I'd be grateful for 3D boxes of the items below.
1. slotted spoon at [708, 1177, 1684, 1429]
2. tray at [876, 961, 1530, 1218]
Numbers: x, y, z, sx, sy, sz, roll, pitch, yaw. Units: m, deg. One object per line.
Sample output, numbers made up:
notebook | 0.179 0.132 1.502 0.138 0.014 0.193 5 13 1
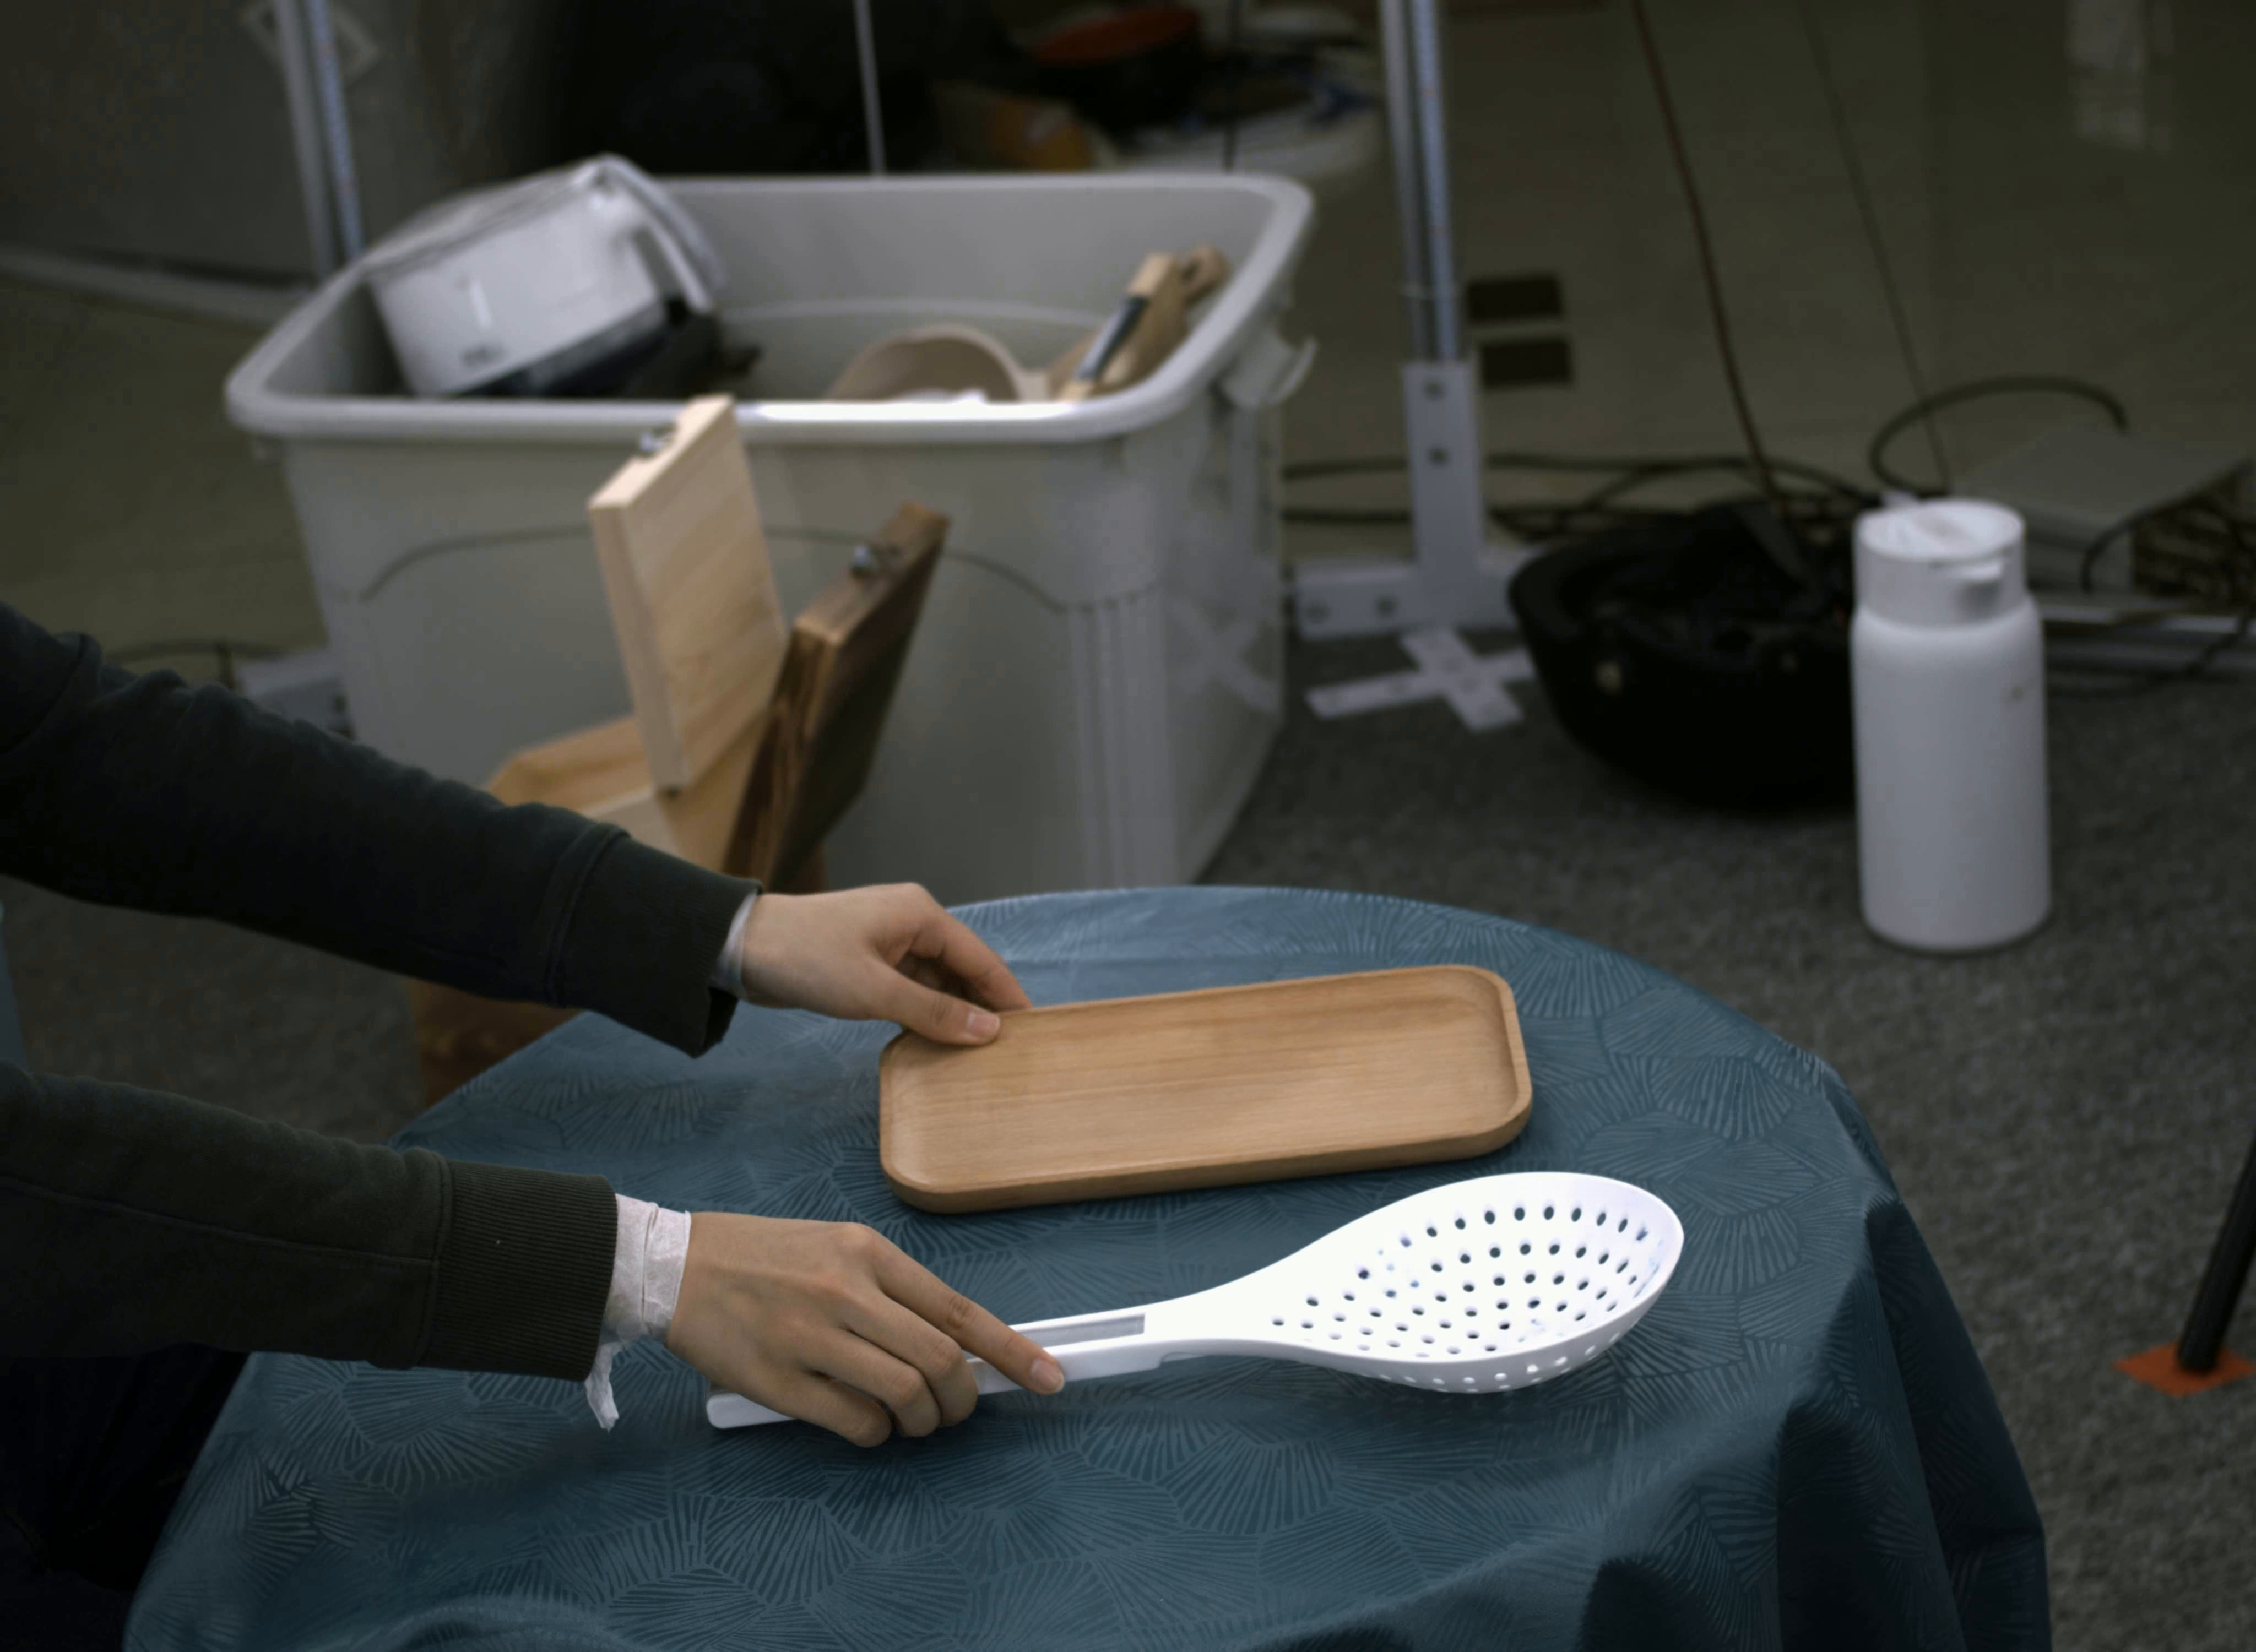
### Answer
slotted spoon | 0.023 0.178 2.007 0.349 0.046 0.134 -5 22 4
tray | 0.028 0.102 2.193 0.250 0.023 0.128 -7 28 1
